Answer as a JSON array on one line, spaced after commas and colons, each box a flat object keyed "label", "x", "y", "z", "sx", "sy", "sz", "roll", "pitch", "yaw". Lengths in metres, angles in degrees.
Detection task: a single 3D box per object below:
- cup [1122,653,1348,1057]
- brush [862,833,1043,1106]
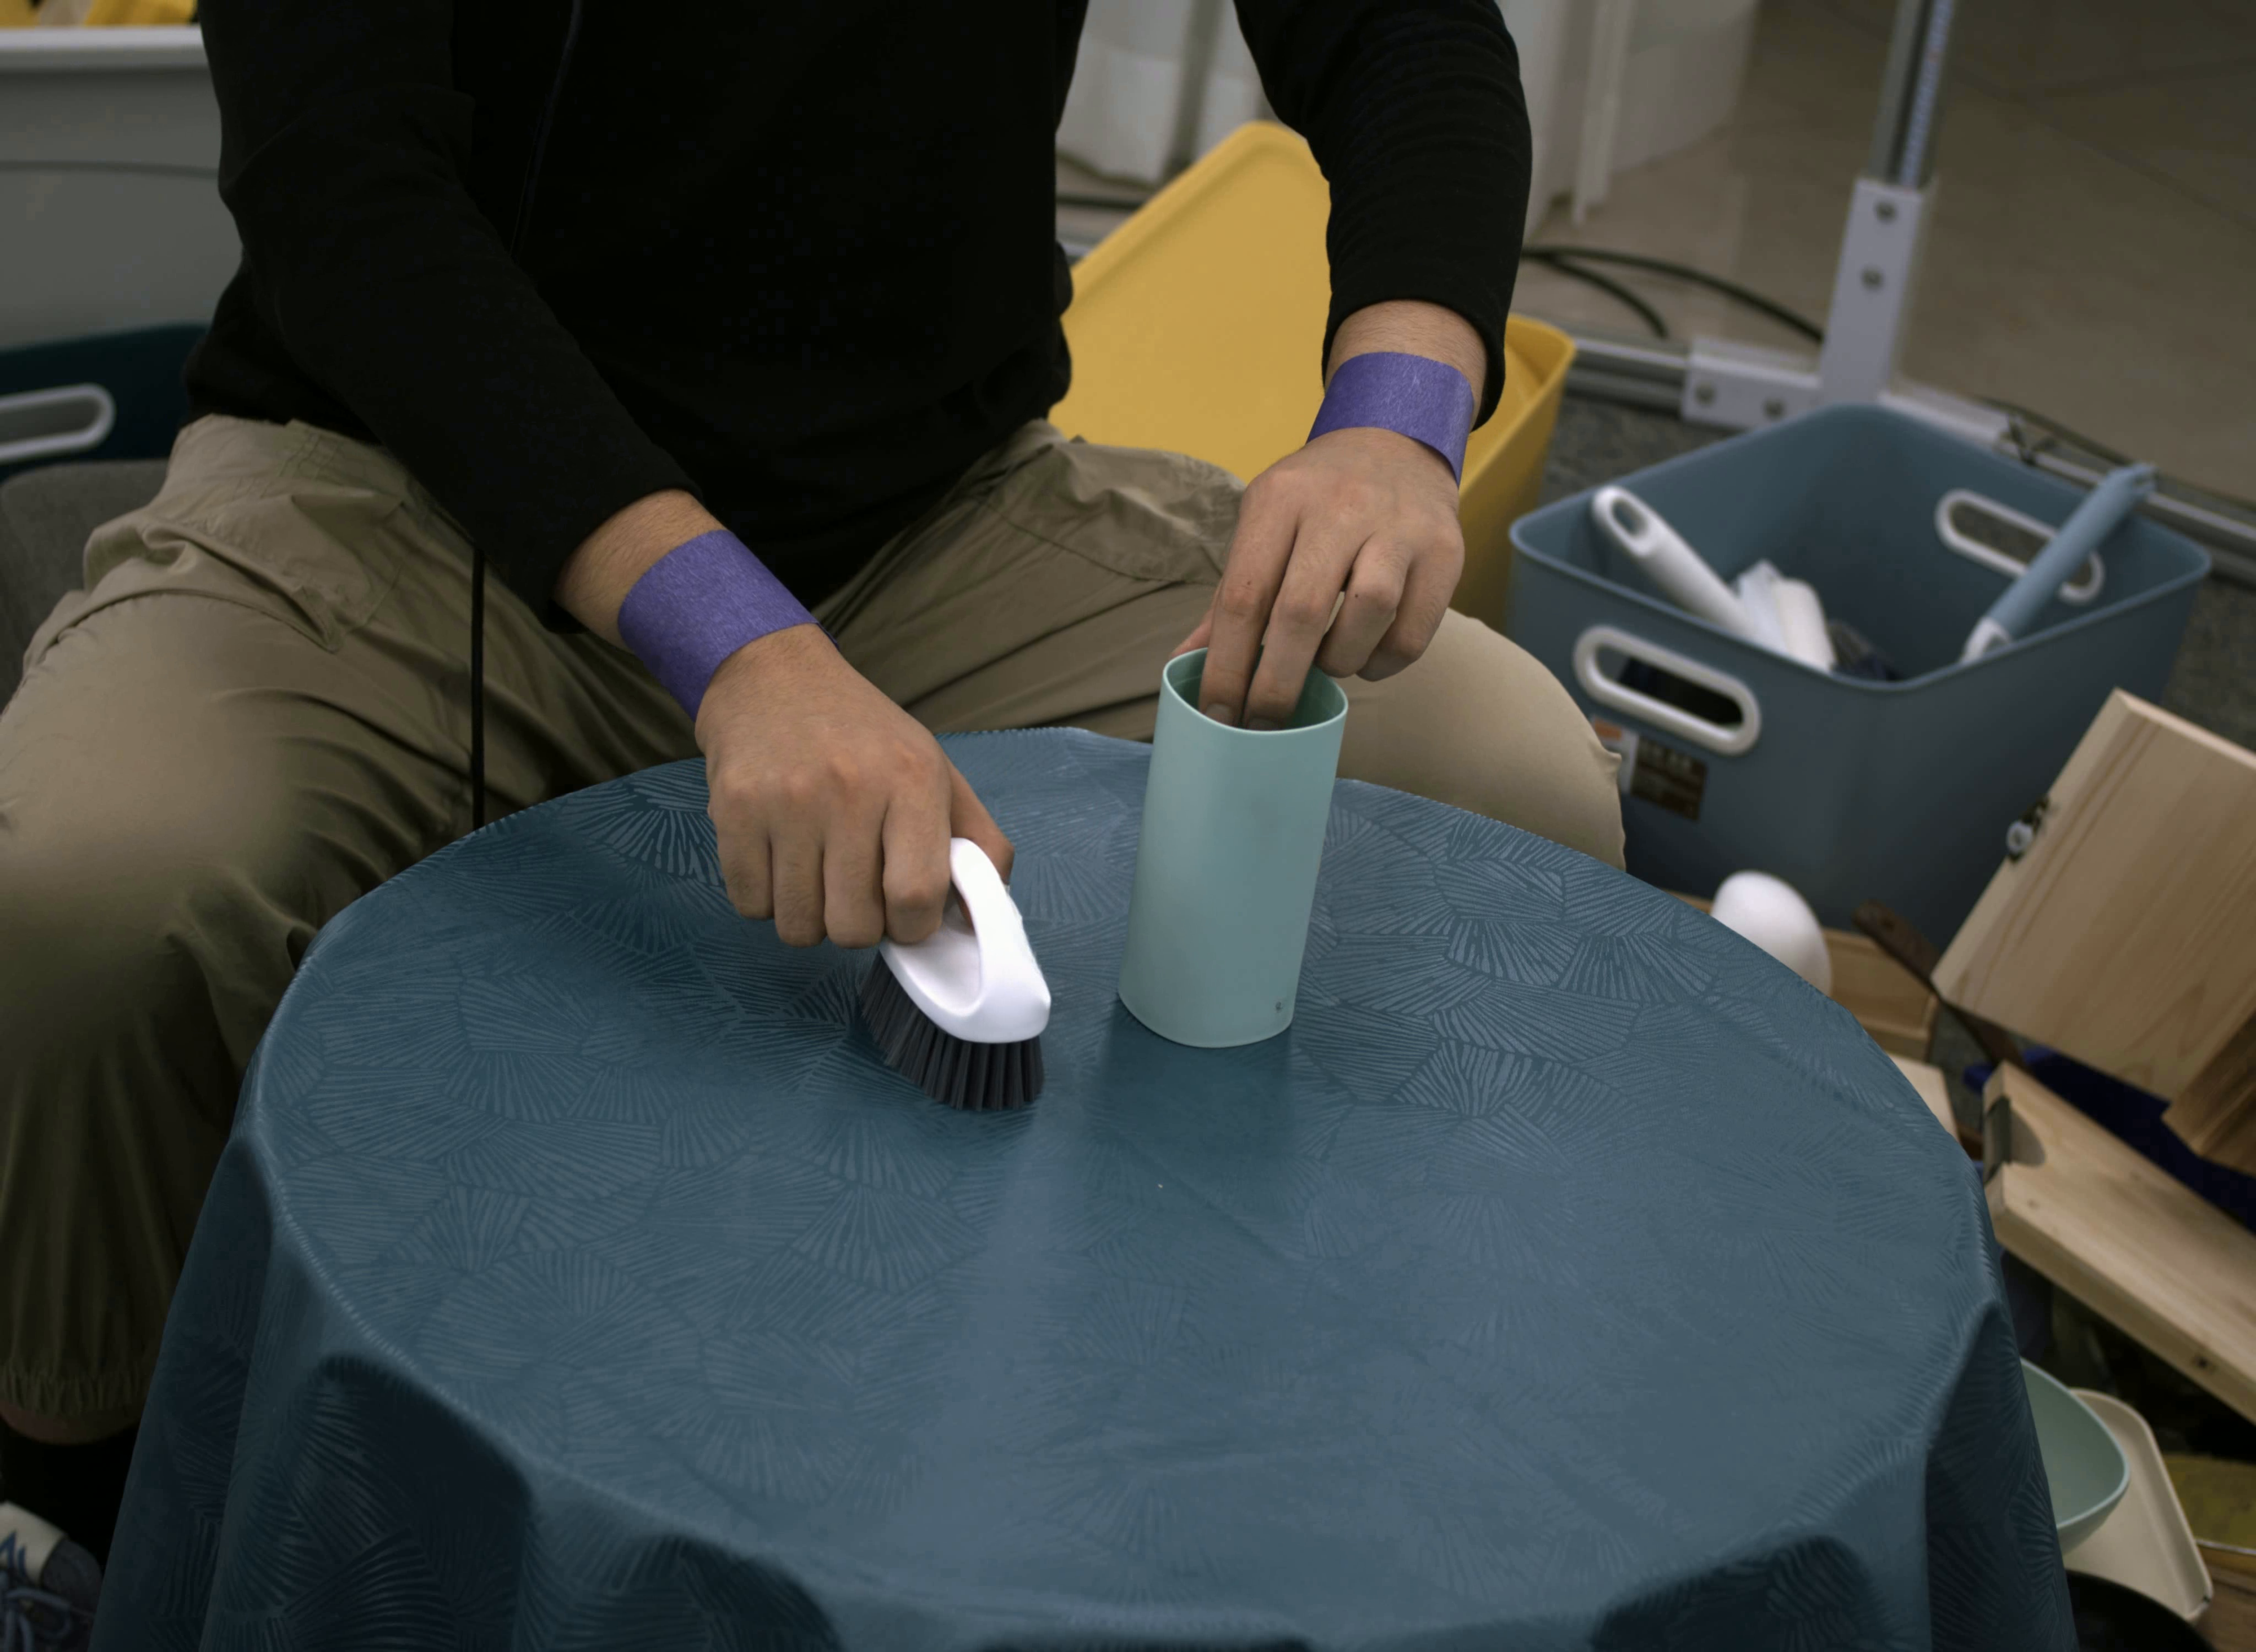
[{"label": "cup", "x": 0.036, "y": 0.010, "z": 1.893, "sx": 0.066, "sy": 0.132, "sz": 0.067, "roll": 6, "pitch": 29, "yaw": -4}, {"label": "brush", "x": -0.060, "y": 0.044, "z": 1.863, "sx": 0.050, "sy": 0.072, "sz": 0.100, "roll": -2, "pitch": 29, "yaw": -20}]
